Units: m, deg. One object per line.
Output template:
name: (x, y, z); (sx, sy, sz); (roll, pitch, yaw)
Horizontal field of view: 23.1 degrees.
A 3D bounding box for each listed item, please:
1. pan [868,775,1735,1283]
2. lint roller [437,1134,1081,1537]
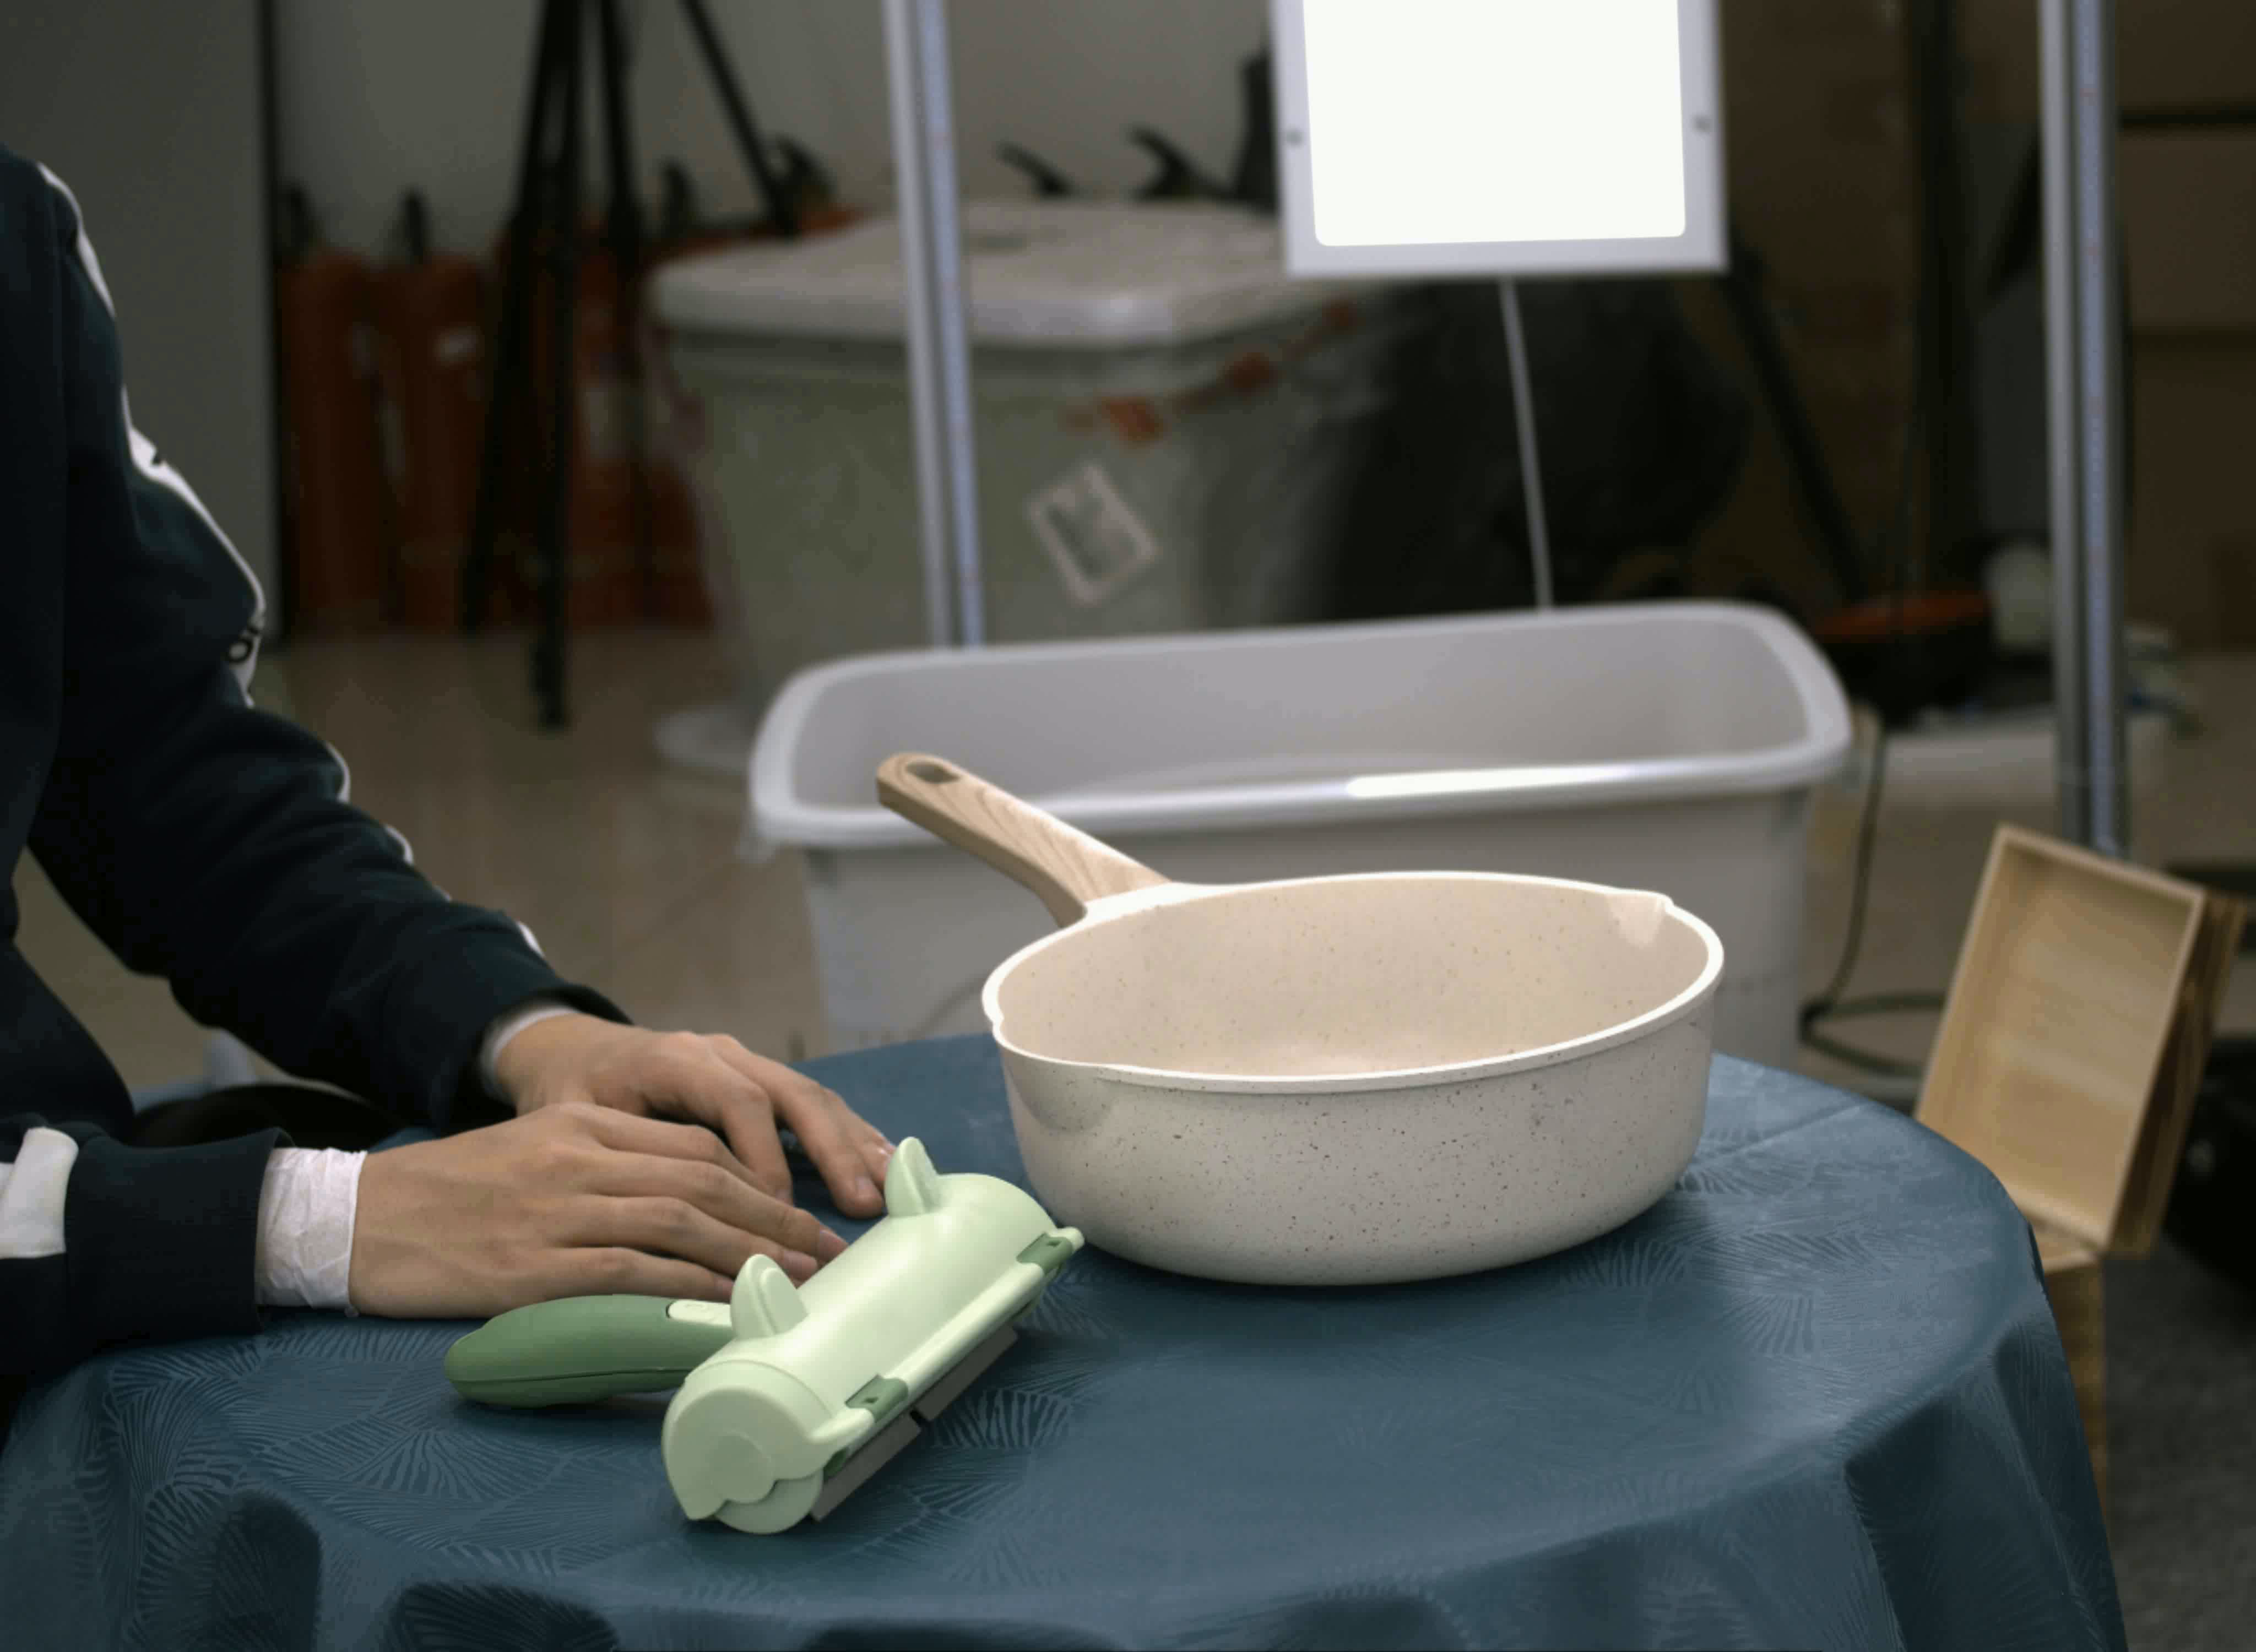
pan: (0.033, 0.063, 1.933); (0.257, 0.102, 0.443); (-15, 17, -29)
lint roller: (-0.131, 0.146, 1.703); (0.186, 0.082, 0.195); (7, 17, 21)
